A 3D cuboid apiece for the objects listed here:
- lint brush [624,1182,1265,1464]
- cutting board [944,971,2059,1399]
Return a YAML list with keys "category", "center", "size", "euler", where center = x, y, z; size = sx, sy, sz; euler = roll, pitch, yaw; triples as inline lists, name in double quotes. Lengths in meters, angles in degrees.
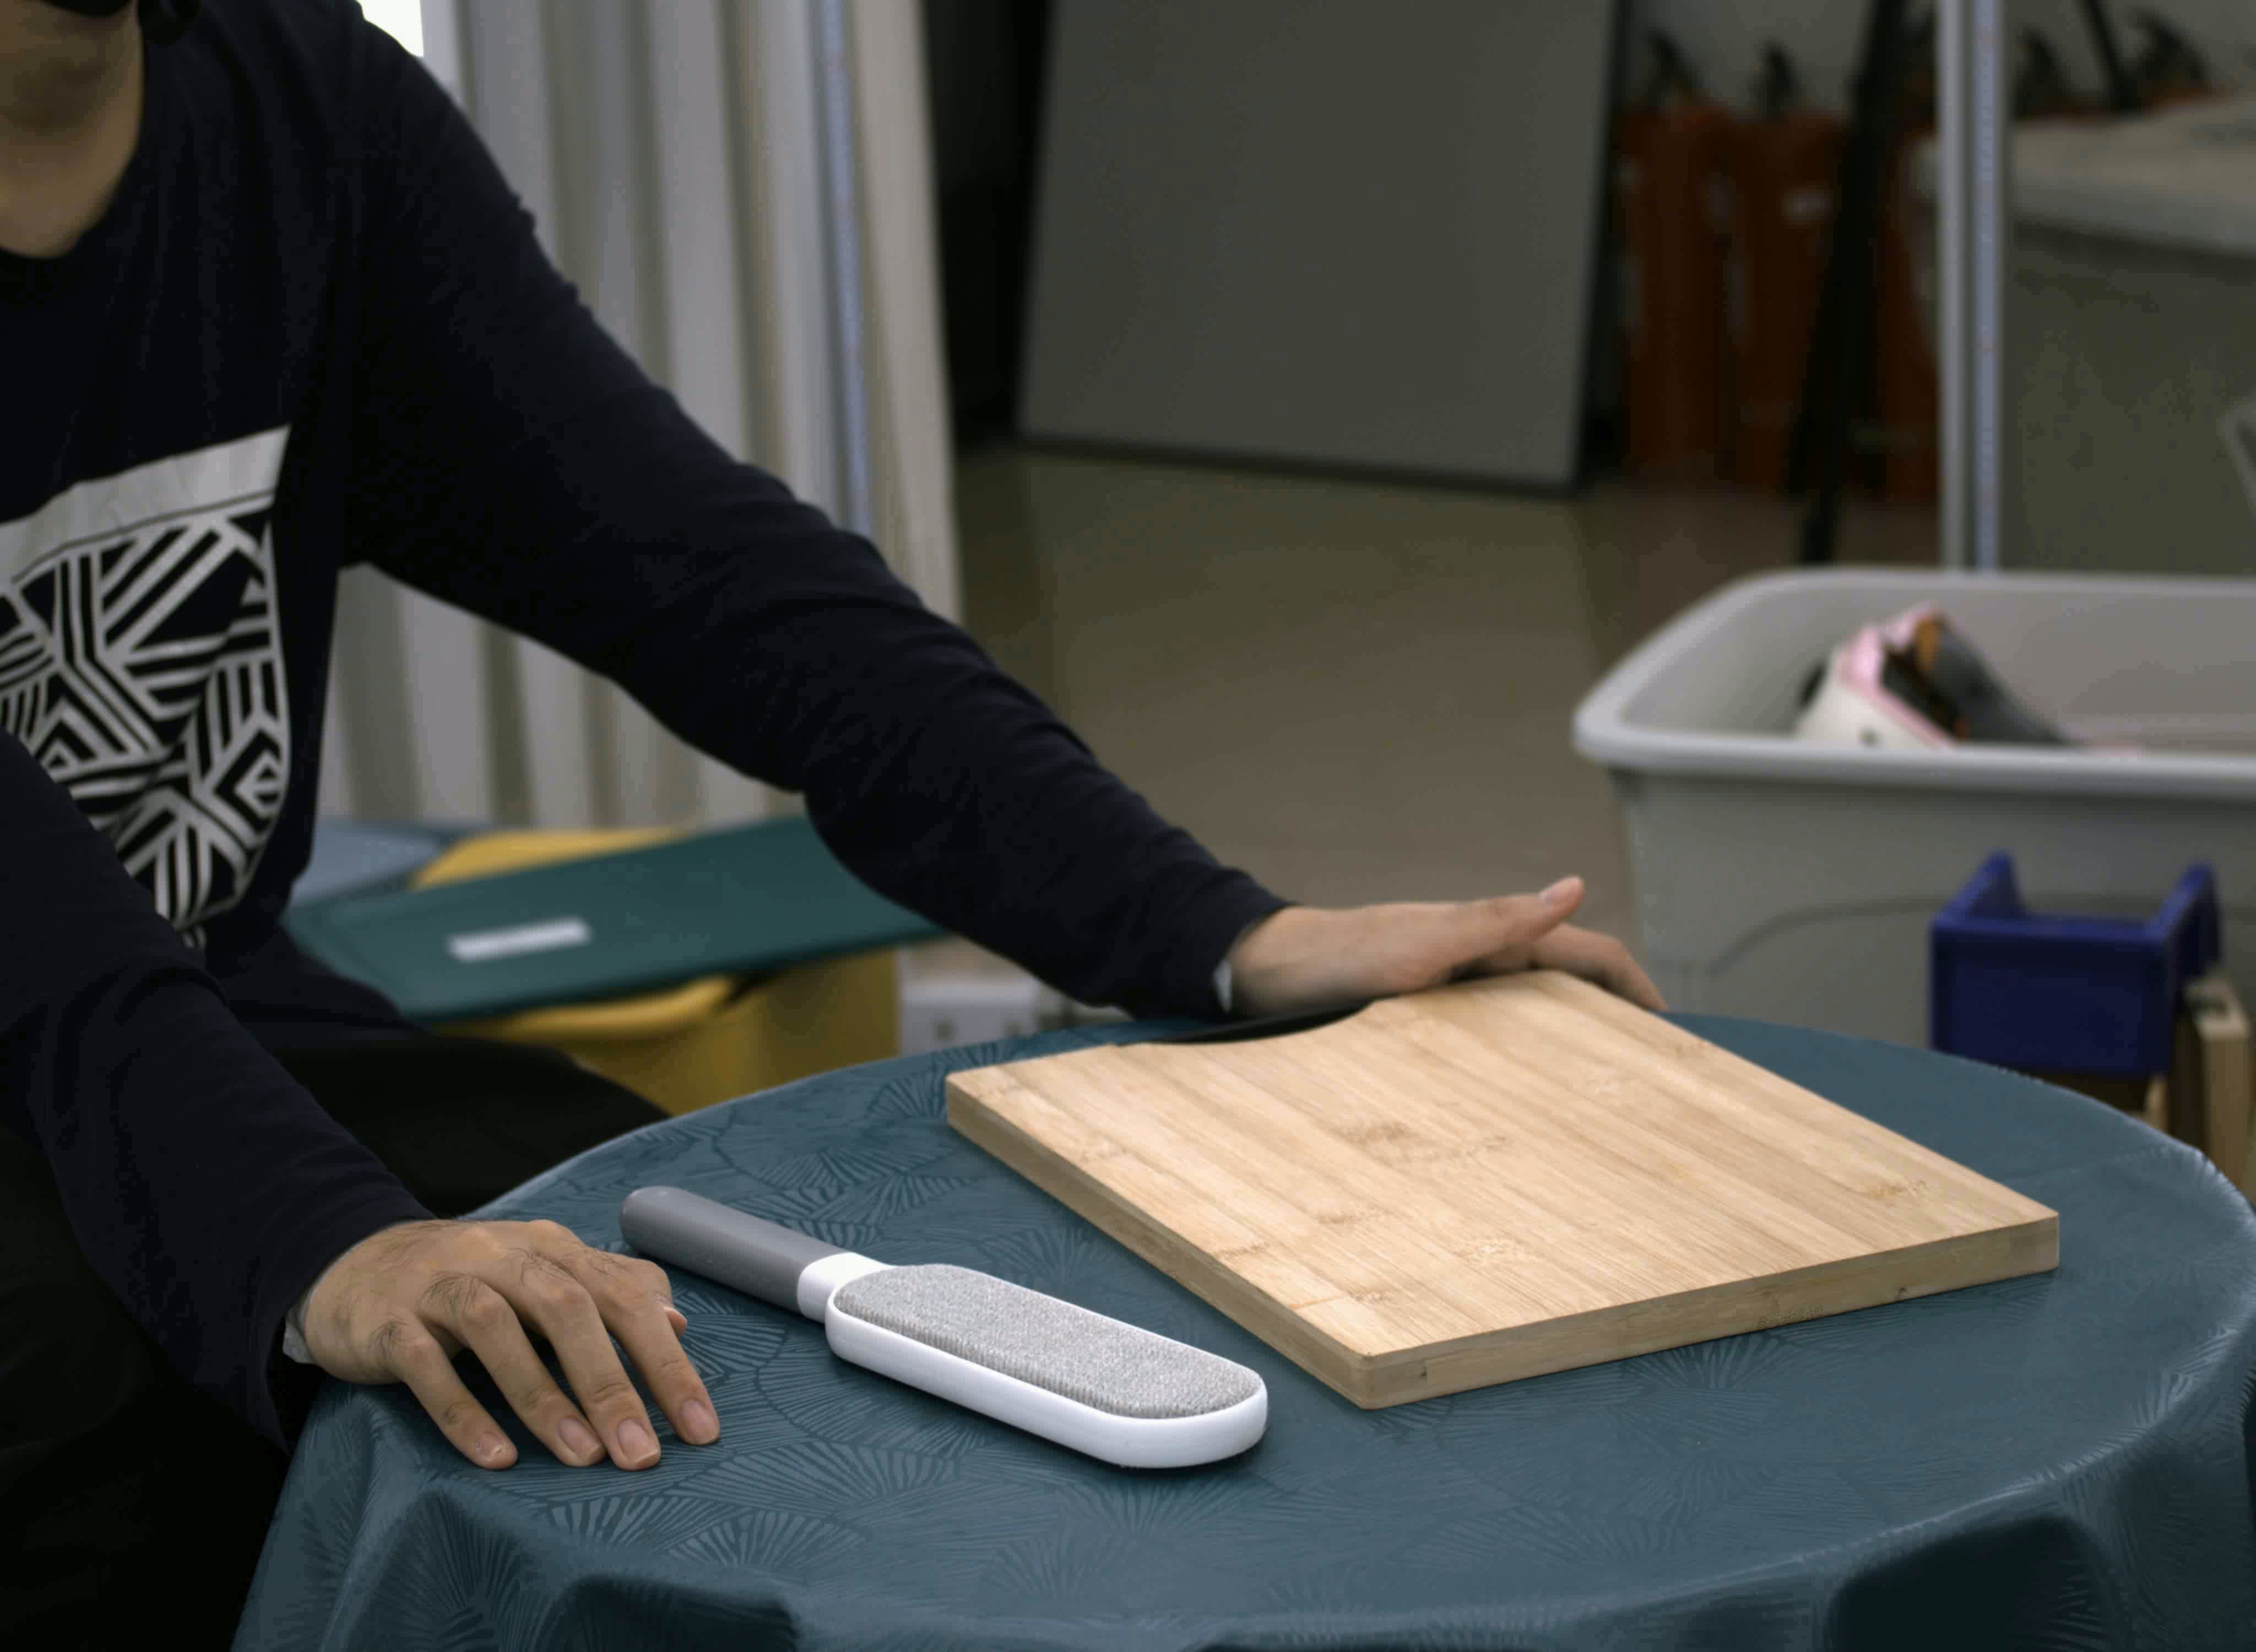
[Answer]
- category: "lint brush"
  center: [-0.063, 0.146, 1.634]
  size: [0.059, 0.021, 0.312]
  euler: [-20, 20, -33]
- category: "cutting board"
  center: [0.110, 0.111, 1.753]
  size: [0.245, 0.024, 0.352]
  euler: [-9, 14, -21]
